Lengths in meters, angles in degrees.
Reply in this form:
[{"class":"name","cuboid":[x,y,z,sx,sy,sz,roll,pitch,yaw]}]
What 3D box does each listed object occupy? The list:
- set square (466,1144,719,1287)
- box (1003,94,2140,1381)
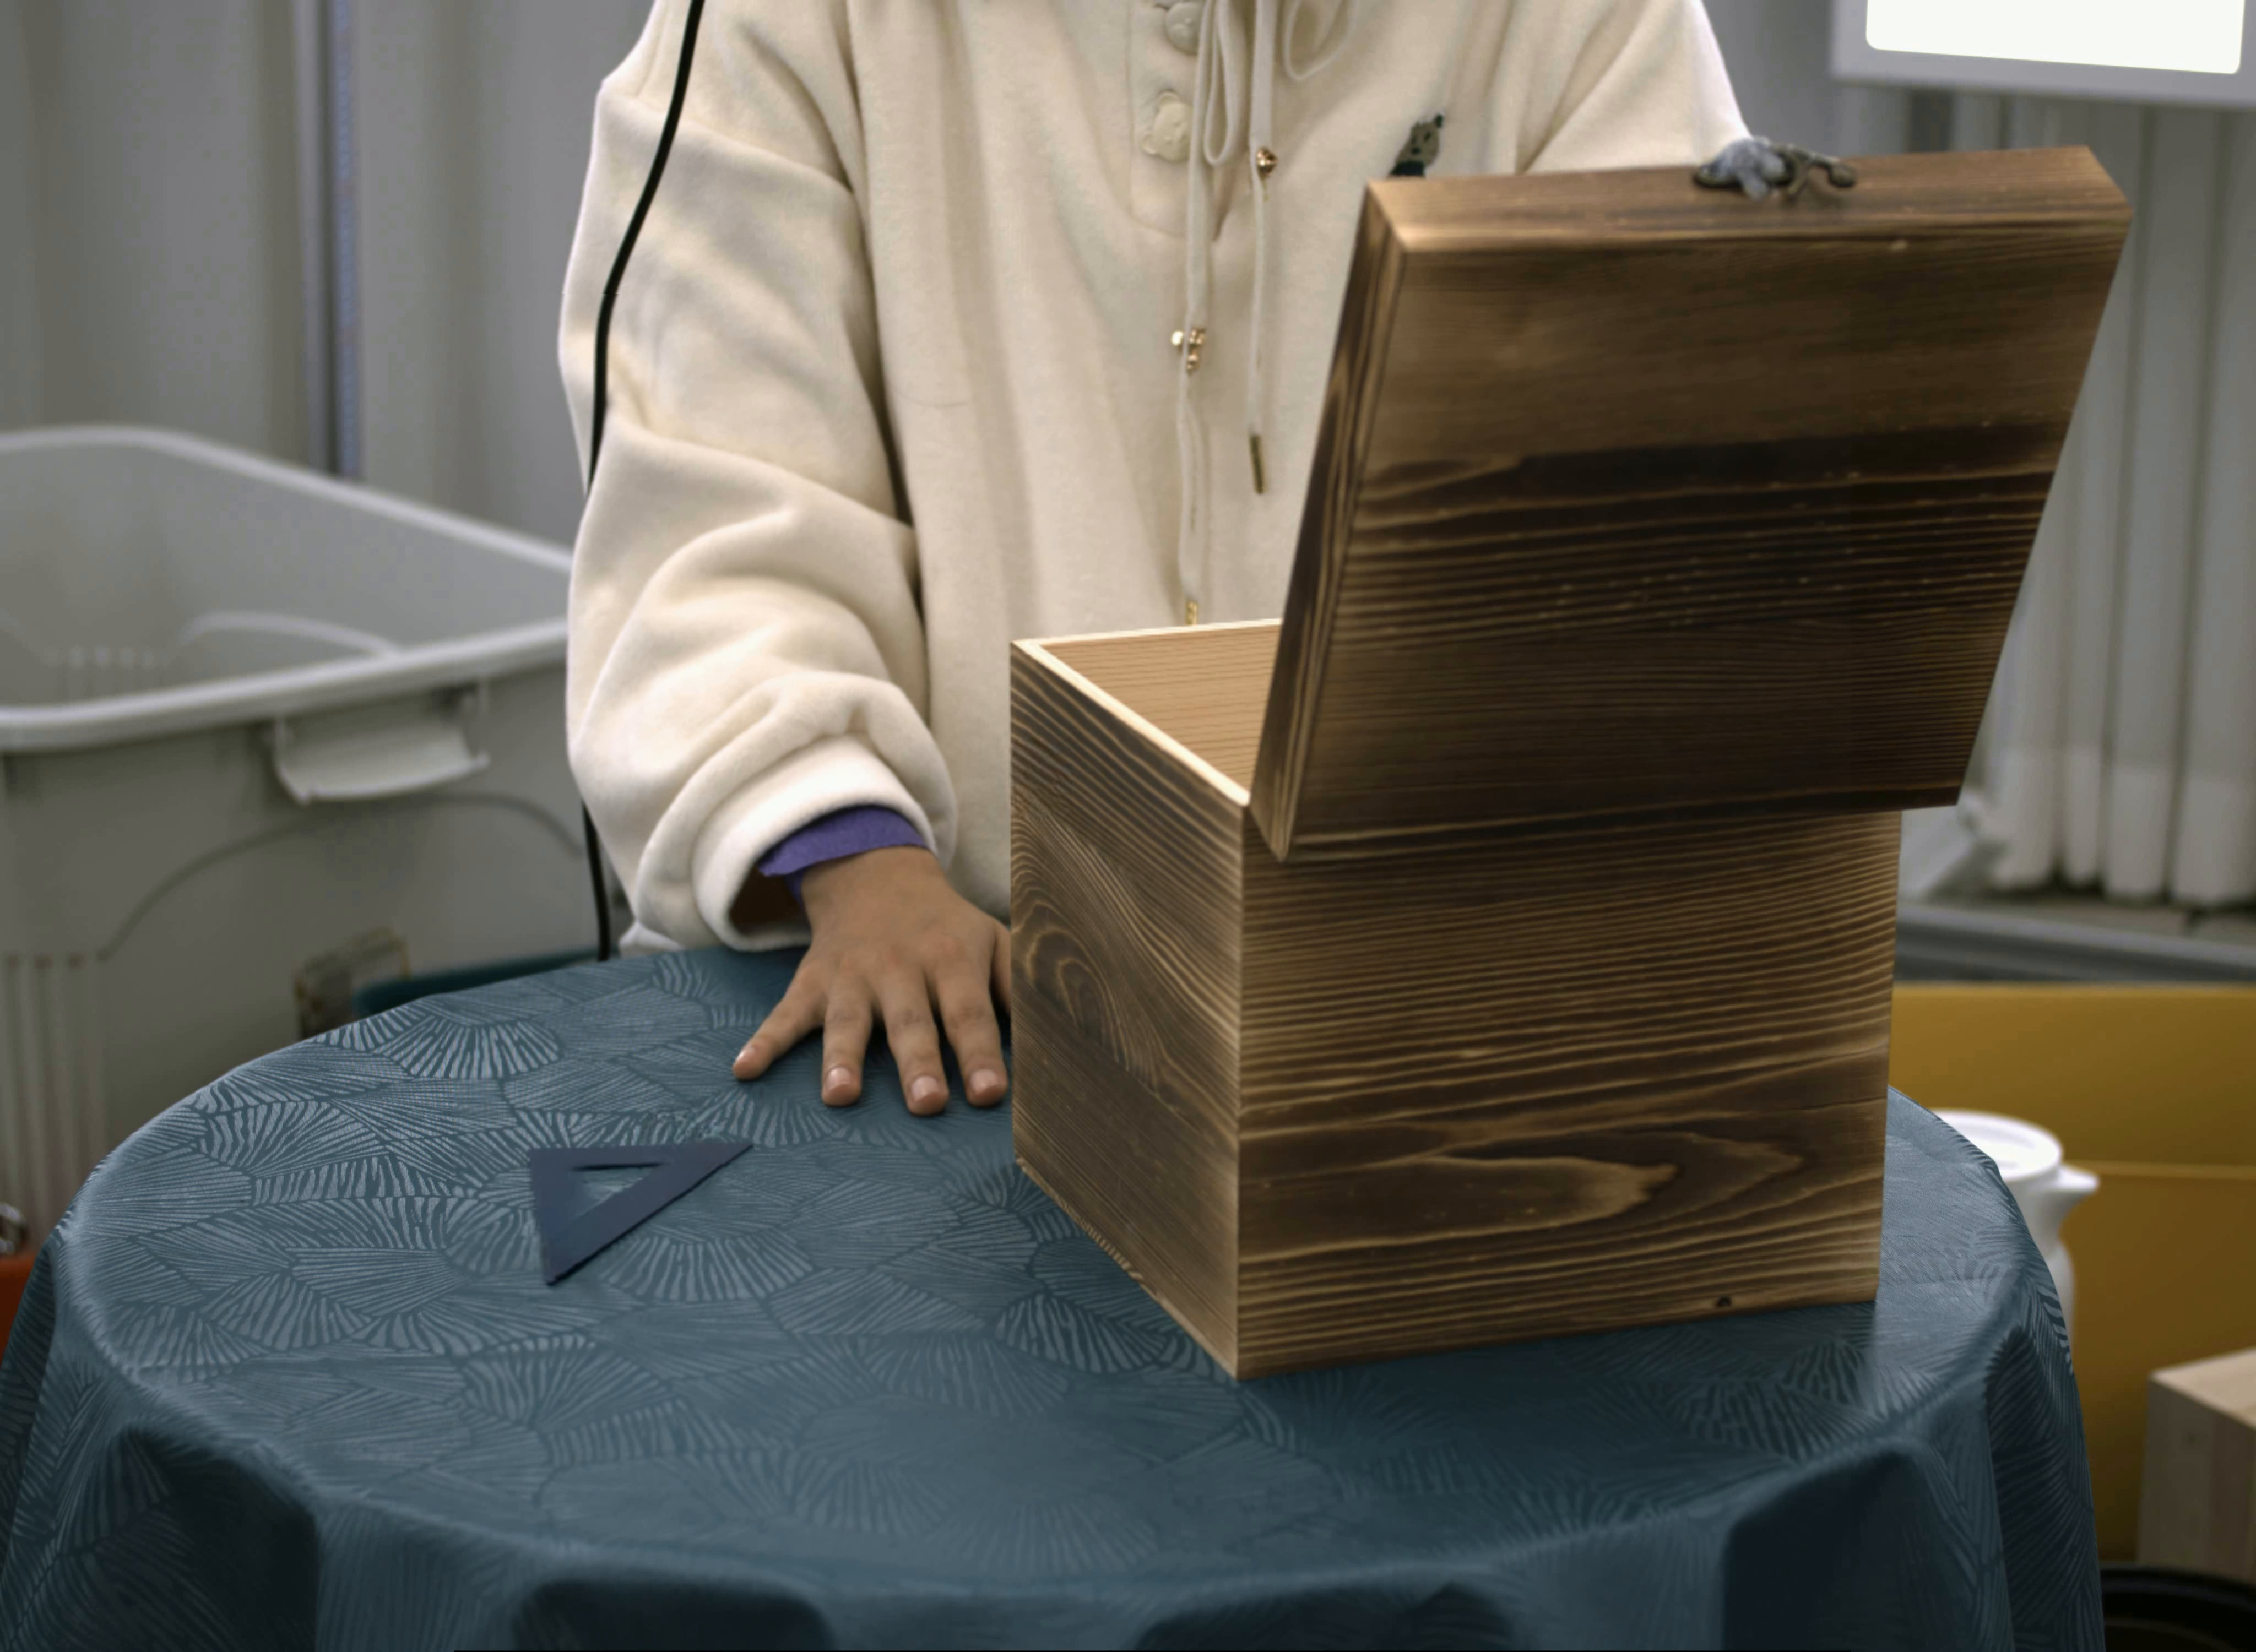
[{"class":"set square","cuboid":[-0.180,0.114,1.600,0.060,0.006,0.132,10,18,24]},{"class":"box","cuboid":[0.111,-0.037,1.494,0.209,0.378,0.318,-5,18,-19]}]
